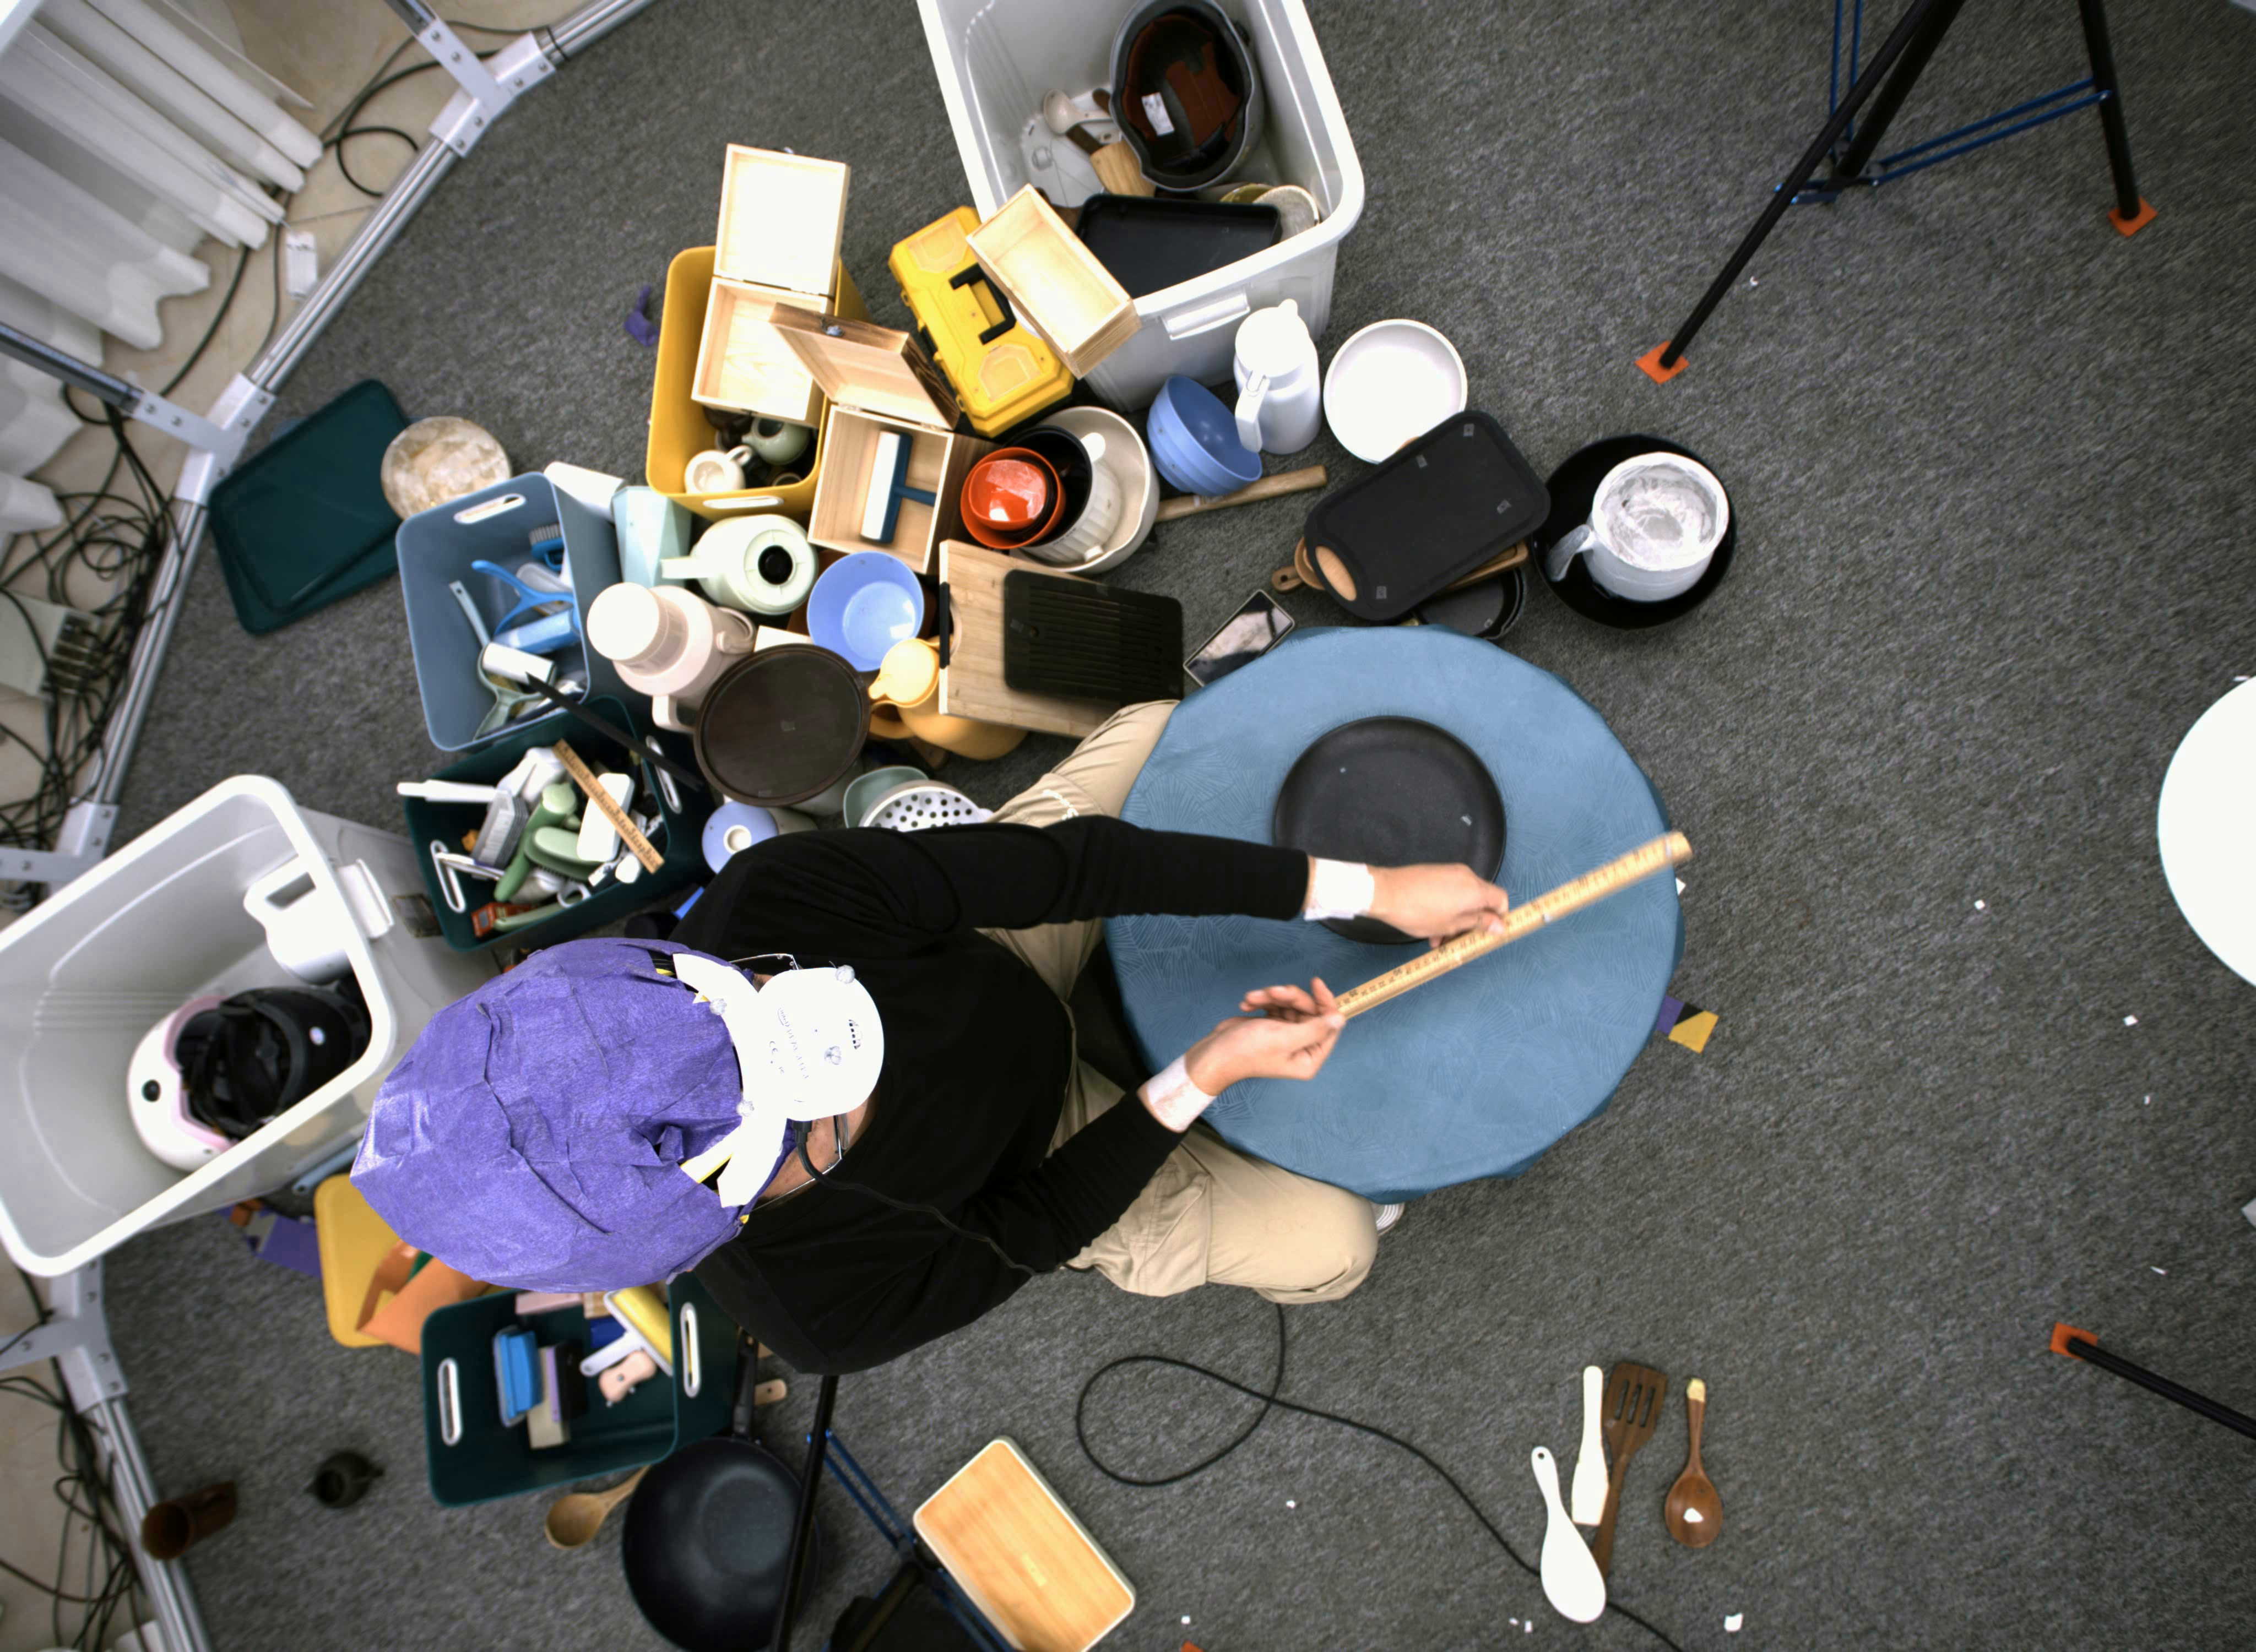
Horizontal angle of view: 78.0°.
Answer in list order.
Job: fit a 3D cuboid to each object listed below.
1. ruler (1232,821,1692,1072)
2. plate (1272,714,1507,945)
[{"bbox_3d":[0.315,0.123,1.358,0.507,0.006,0.026,-31,85,21],"label":"ruler"},{"bbox_3d":[0.274,0.003,1.451,0.245,0.023,0.243,-1,87,11],"label":"plate"}]
